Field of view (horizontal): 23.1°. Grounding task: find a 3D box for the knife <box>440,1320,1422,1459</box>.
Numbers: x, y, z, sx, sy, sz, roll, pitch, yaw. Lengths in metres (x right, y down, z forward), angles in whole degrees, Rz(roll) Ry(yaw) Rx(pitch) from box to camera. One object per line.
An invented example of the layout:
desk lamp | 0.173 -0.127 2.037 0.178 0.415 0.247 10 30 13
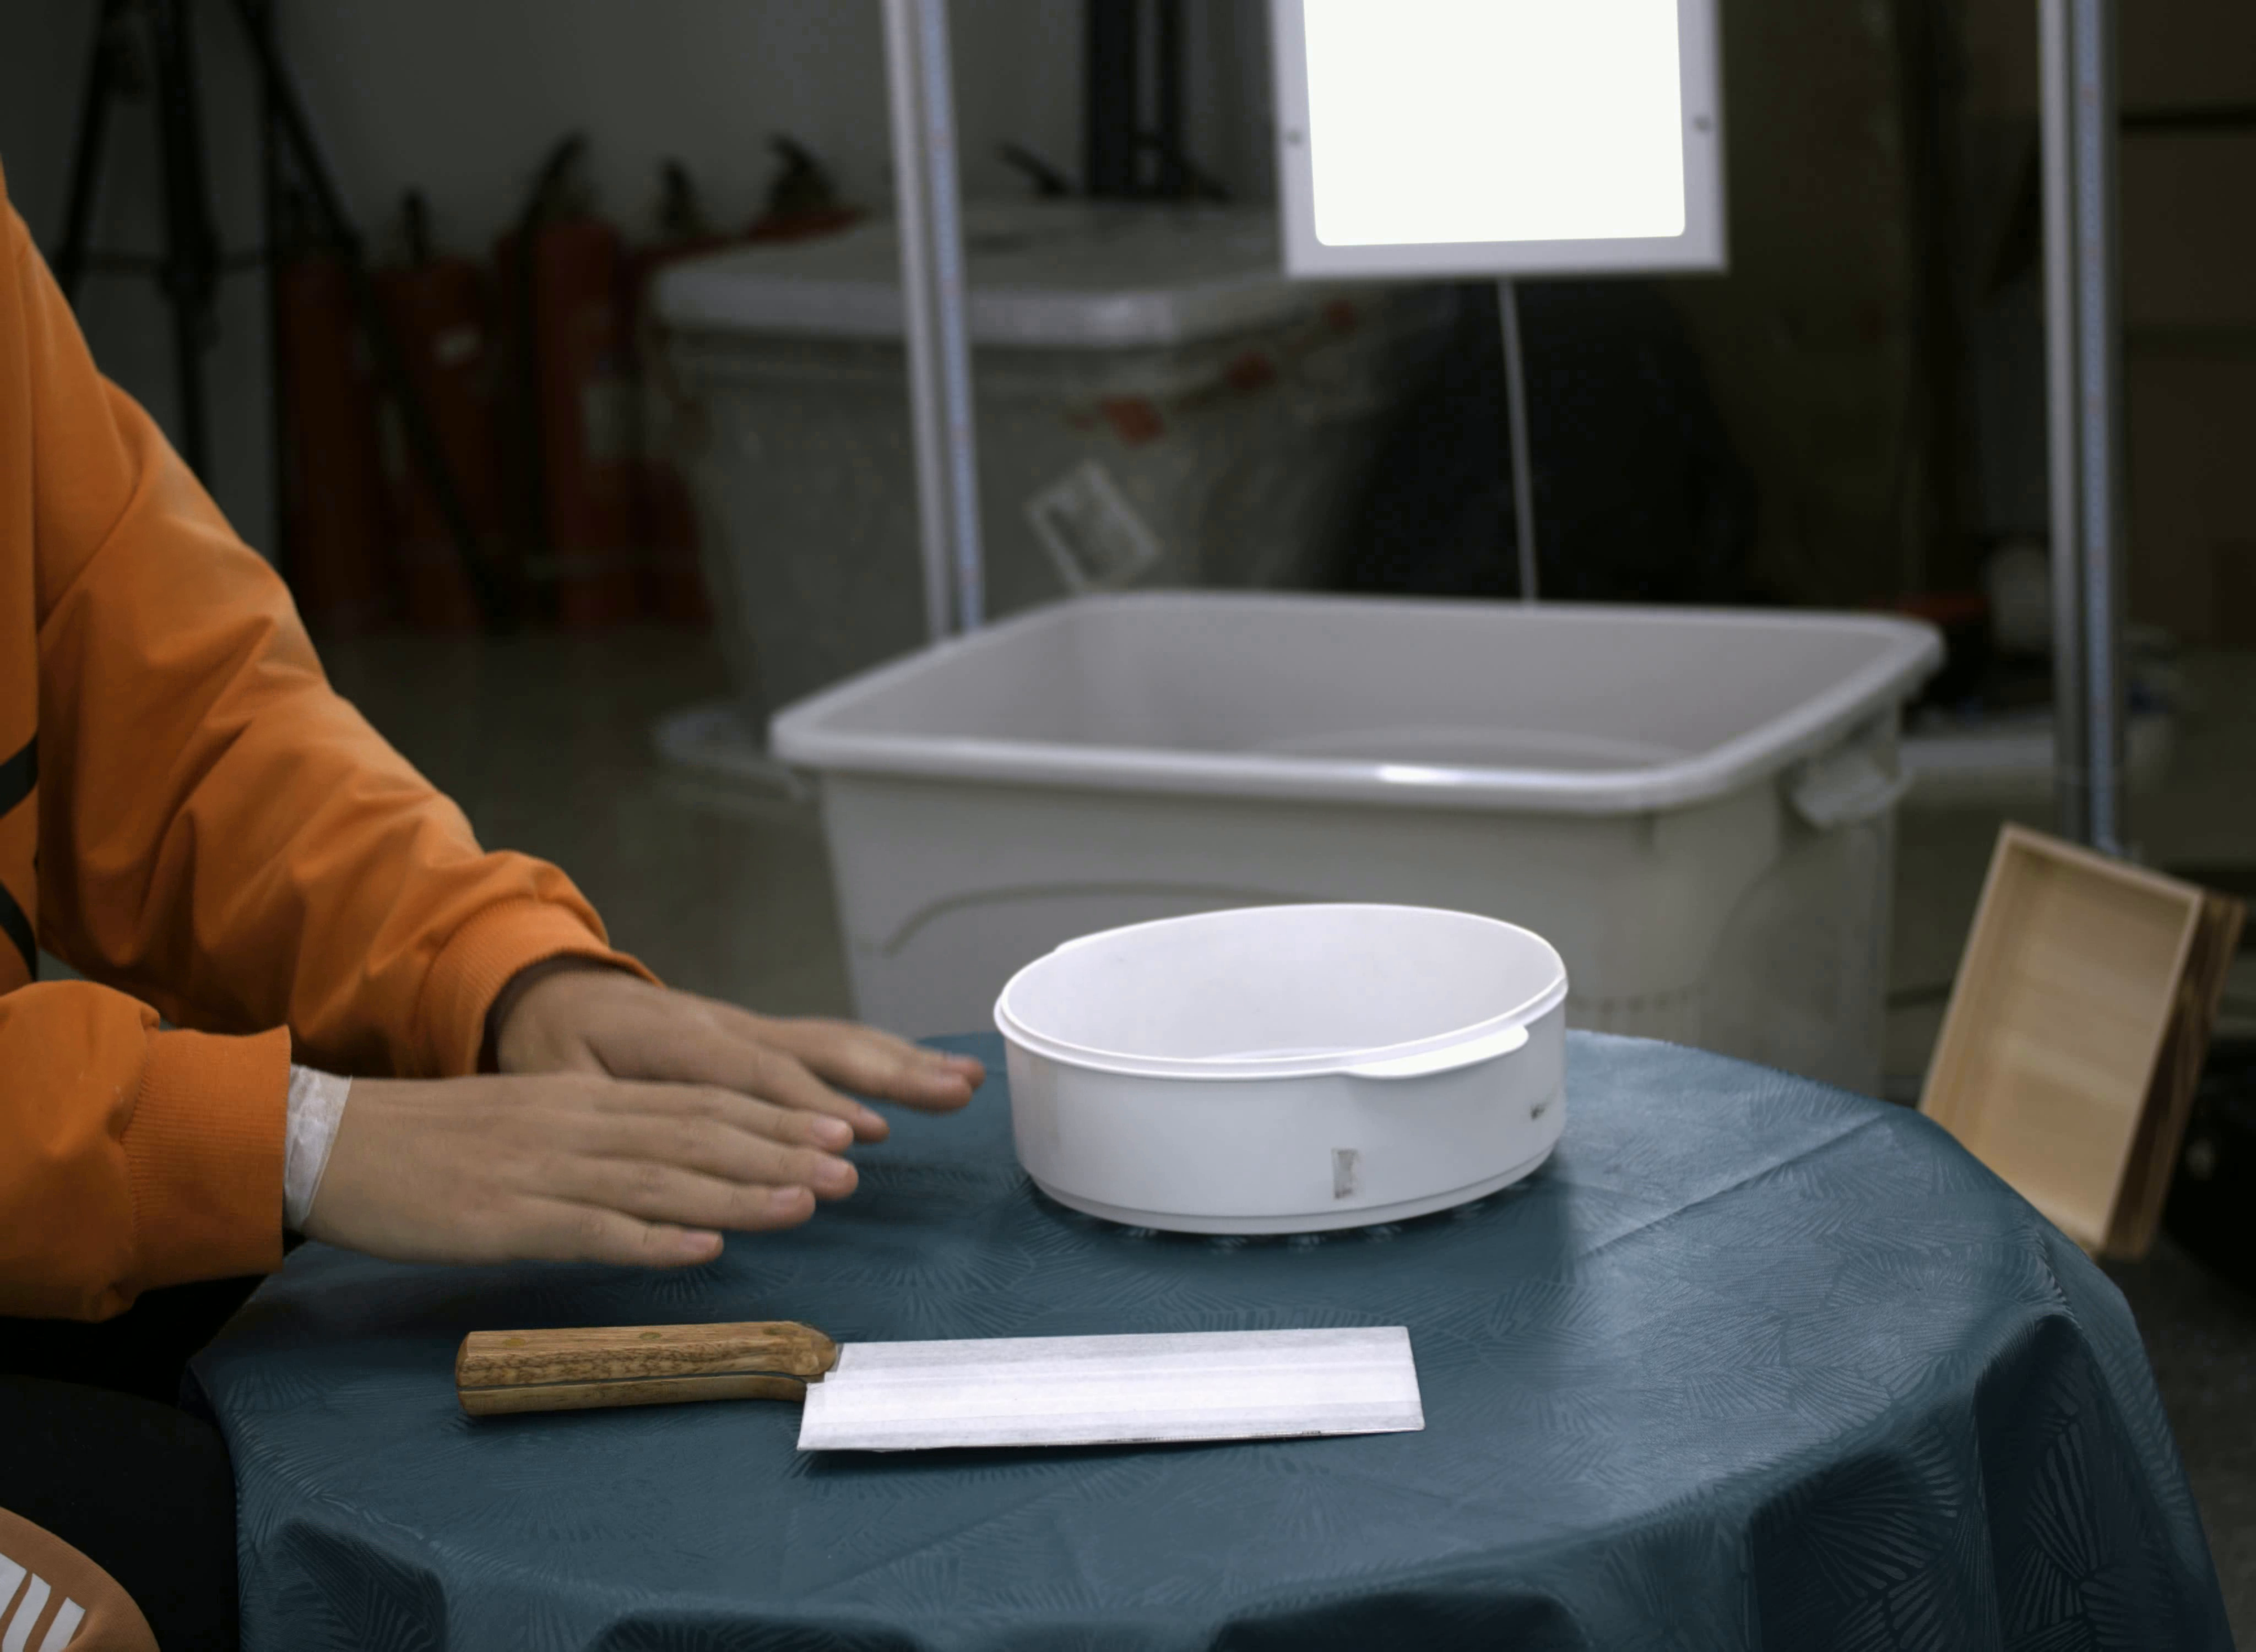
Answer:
knife | -0.063 0.174 1.696 0.305 0.021 0.092 -2 15 2

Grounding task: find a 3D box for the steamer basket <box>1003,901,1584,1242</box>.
steamer basket | 0.059 0.085 1.900 0.197 0.069 0.235 -13 18 -27
